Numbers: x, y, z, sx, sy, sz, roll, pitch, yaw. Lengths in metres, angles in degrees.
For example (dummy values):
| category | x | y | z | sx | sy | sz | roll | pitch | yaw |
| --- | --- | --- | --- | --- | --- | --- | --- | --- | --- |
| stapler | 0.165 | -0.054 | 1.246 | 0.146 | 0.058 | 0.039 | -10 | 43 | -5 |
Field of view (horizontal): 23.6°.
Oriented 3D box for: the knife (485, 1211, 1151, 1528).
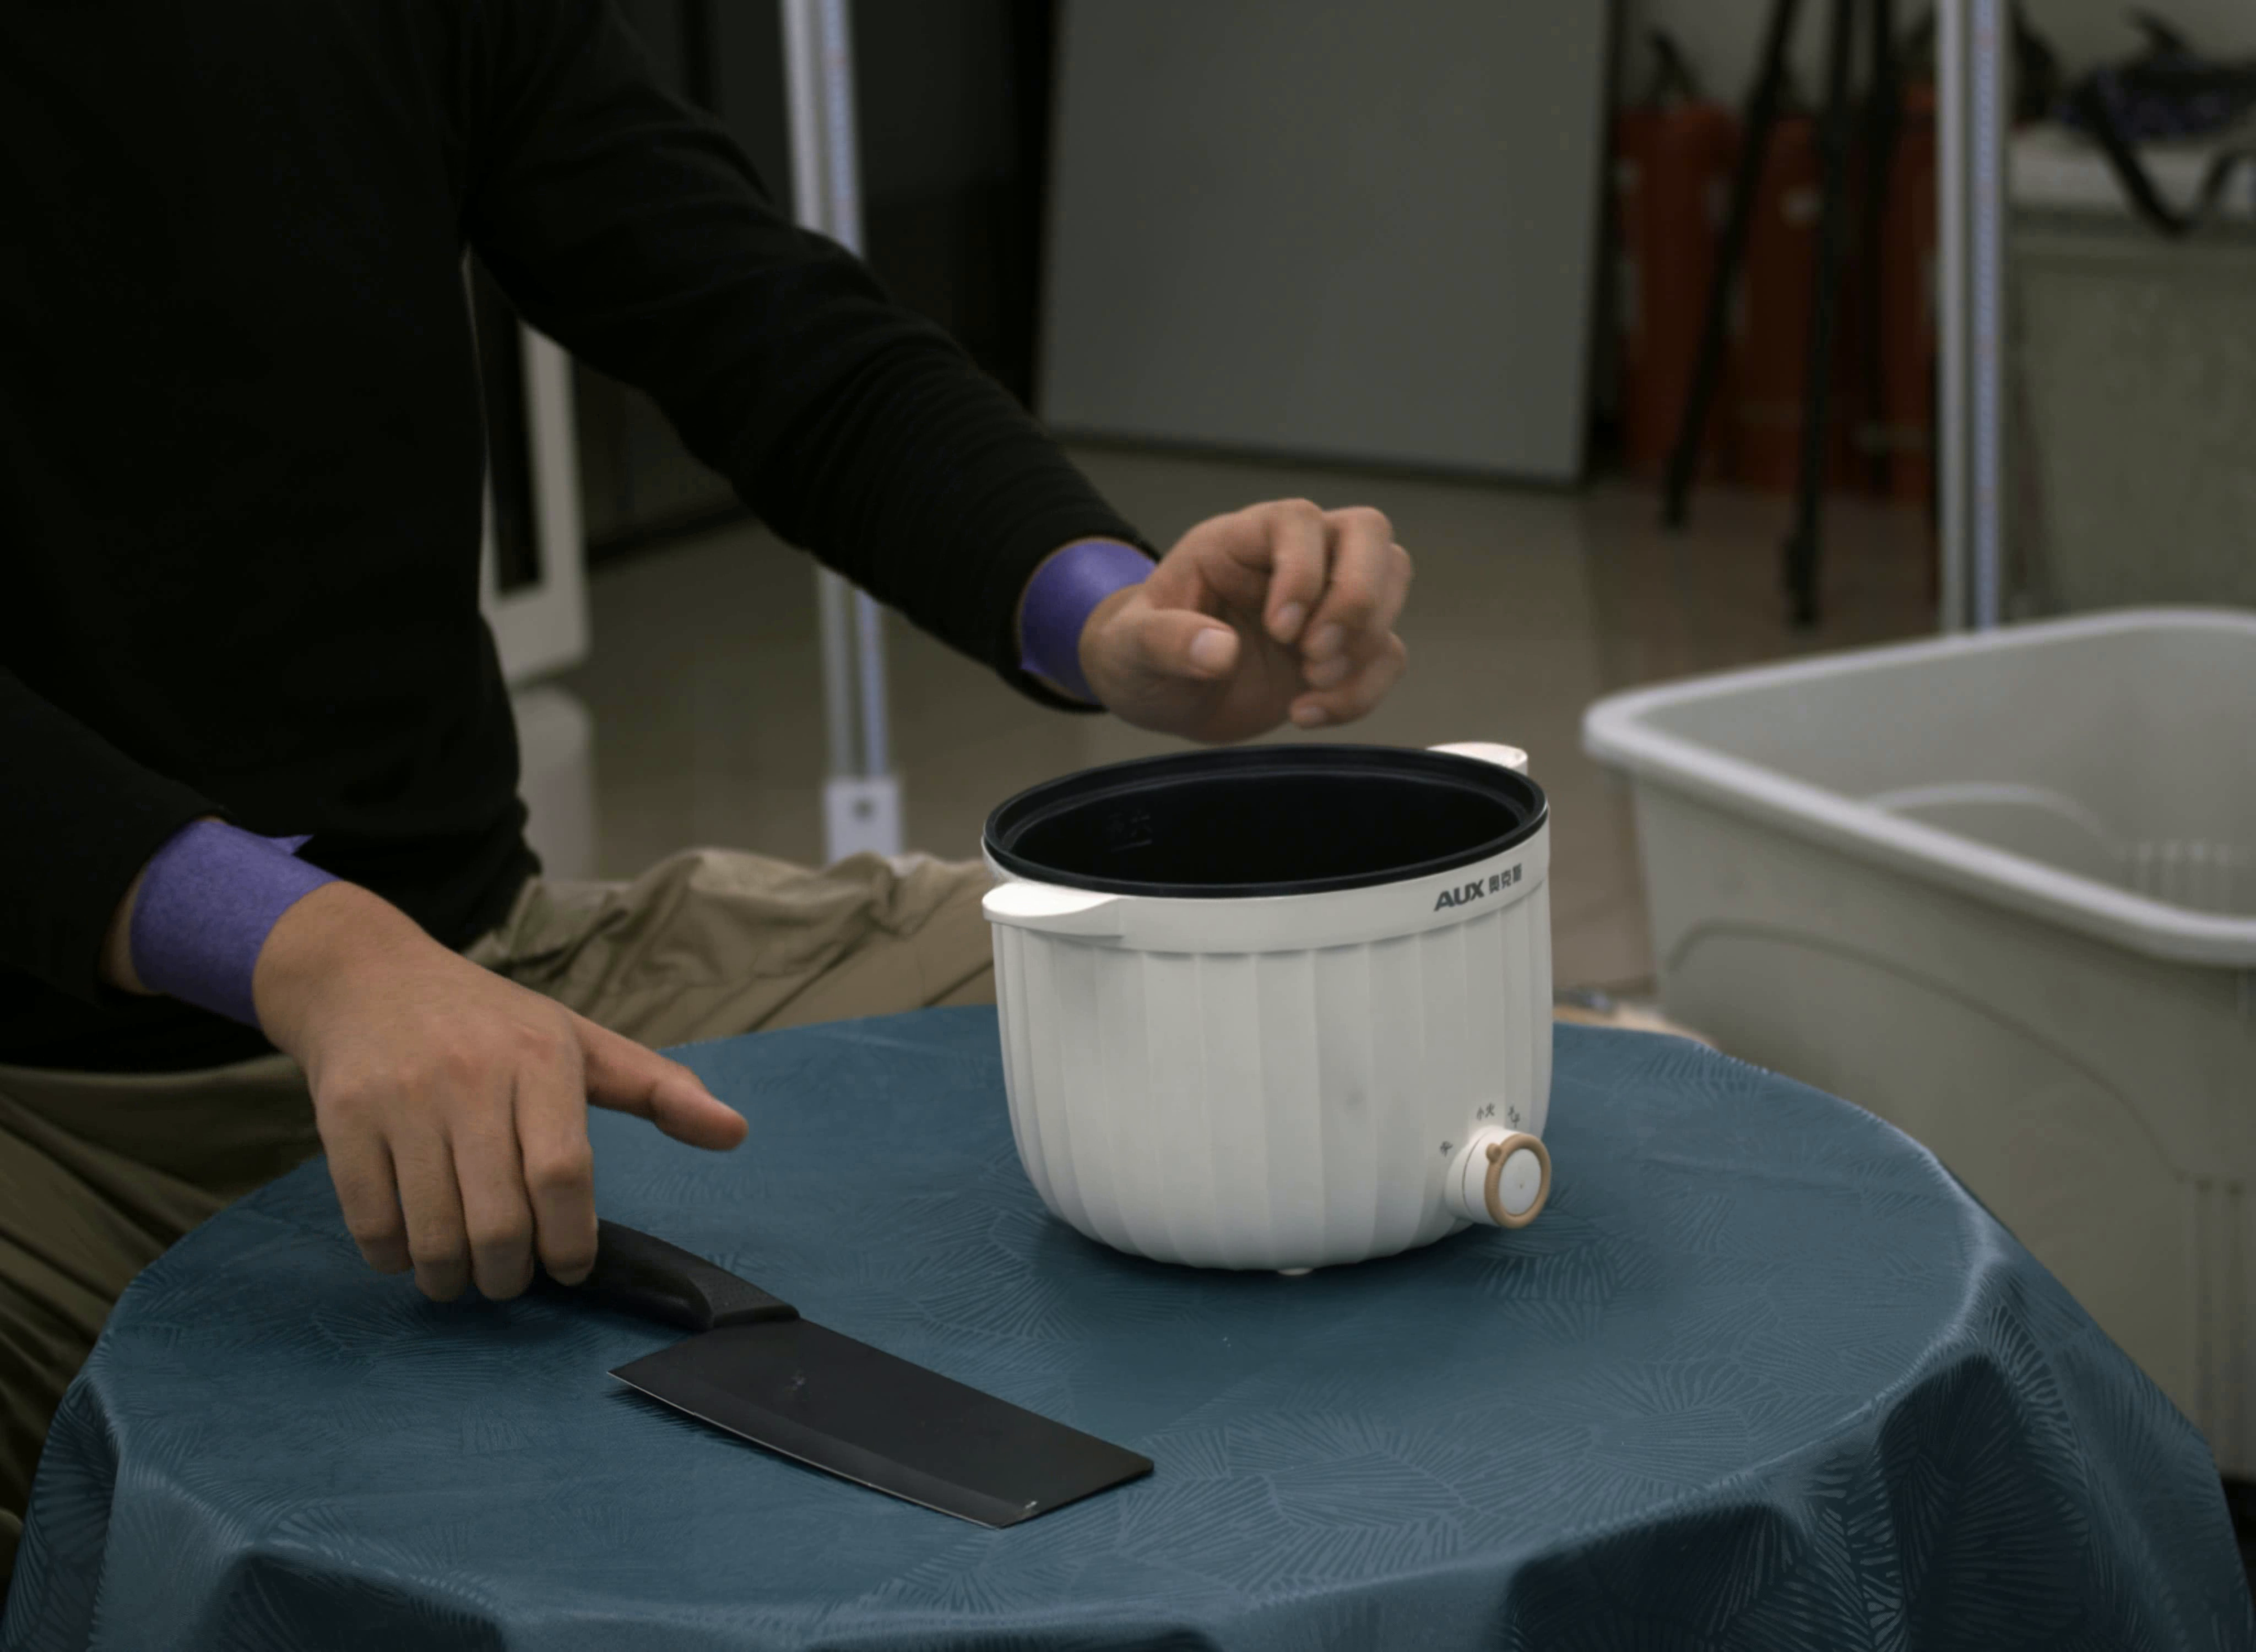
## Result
| category | x | y | z | sx | sy | sz | roll | pitch | yaw |
| --- | --- | --- | --- | --- | --- | --- | --- | --- | --- |
| knife | -0.107 | 0.161 | 1.618 | 0.079 | 0.021 | 0.305 | -15 | 19 | -33 |

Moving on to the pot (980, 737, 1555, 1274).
| category | x | y | z | sx | sy | sz | roll | pitch | yaw |
| --- | --- | --- | --- | --- | --- | --- | --- | --- | --- |
| pot | 0.052 | 0.059 | 1.721 | 0.192 | 0.144 | 0.235 | 5 | 17 | 44 |
